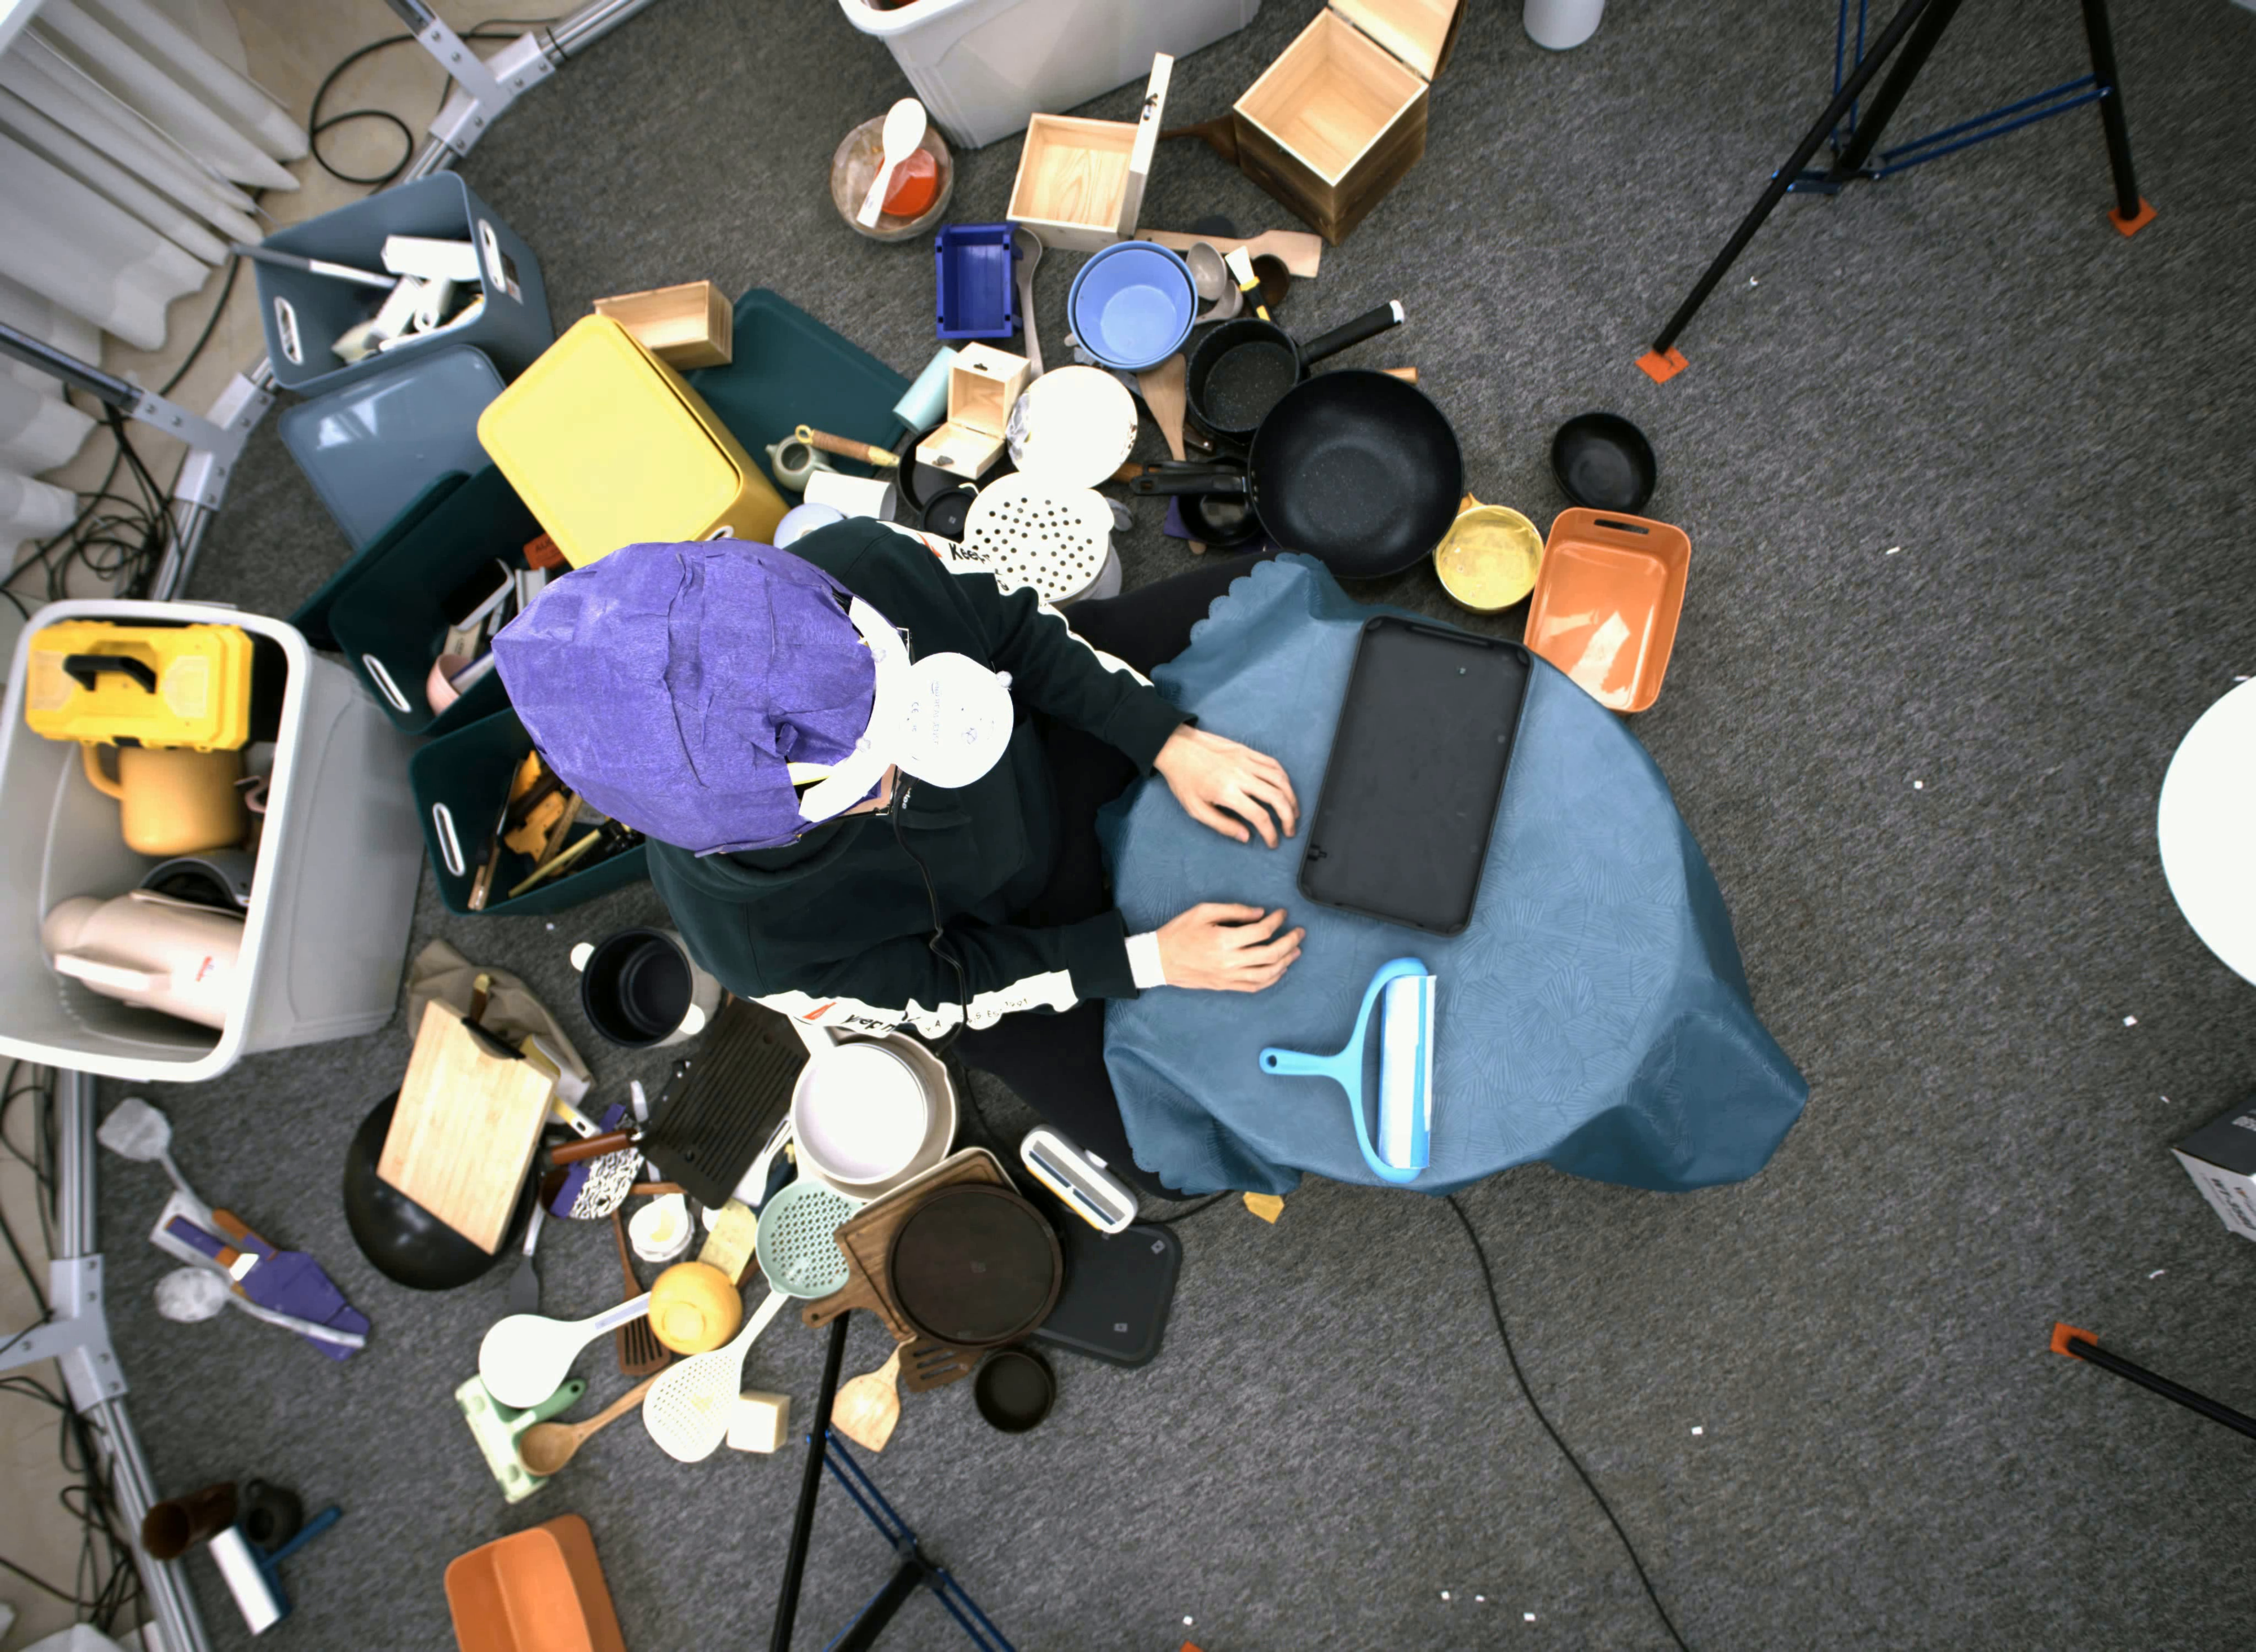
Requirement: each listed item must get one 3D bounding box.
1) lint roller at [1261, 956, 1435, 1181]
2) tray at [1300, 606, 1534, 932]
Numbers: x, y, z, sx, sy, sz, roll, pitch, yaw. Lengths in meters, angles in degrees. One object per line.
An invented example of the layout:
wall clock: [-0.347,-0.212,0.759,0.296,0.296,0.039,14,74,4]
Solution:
lint roller: [0.226,0.247,1.425,0.181,0.068,0.228,-1,89,9]
tray: [0.301,-0.062,1.439,0.184,0.037,0.318,13,91,11]
